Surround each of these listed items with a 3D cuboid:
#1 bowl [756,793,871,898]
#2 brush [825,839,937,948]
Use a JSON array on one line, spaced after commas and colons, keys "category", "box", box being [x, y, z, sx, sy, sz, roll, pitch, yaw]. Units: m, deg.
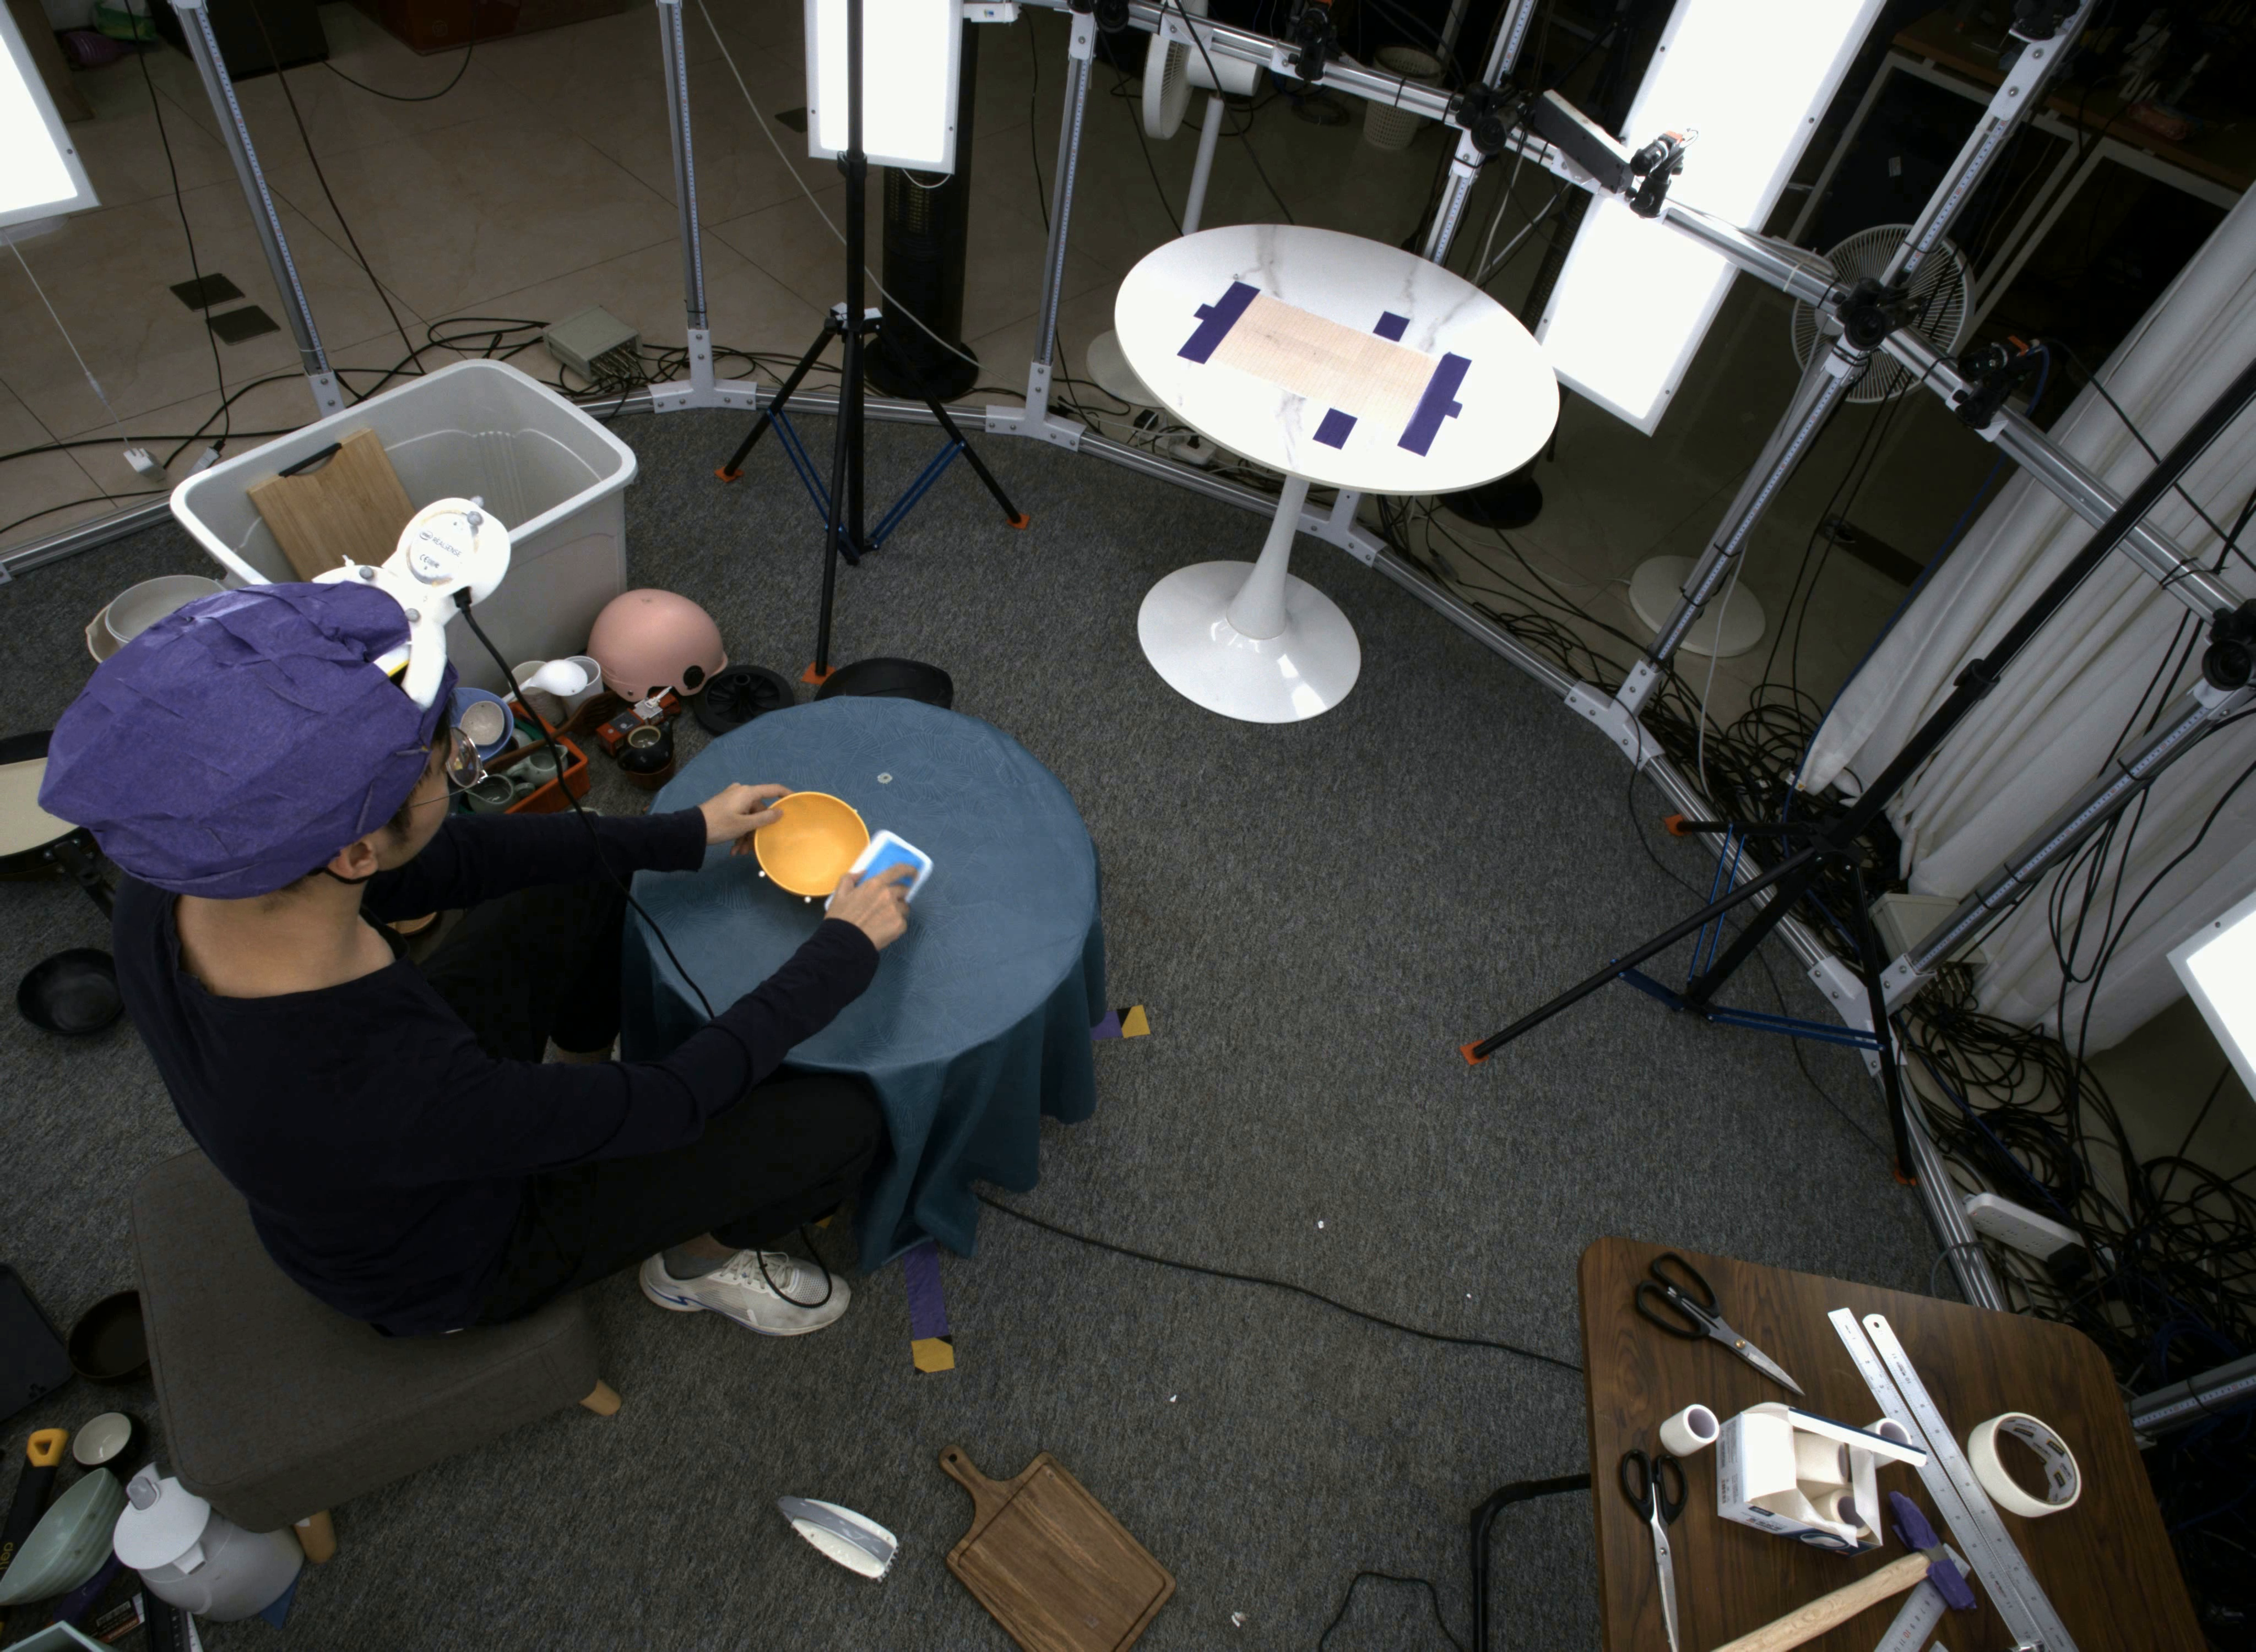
[{"category": "bowl", "box": [-0.405, 0.034, 1.657, 0.147, 0.060, 0.143, 13, 58, -19]}, {"category": "brush", "box": [-0.299, 0.074, 1.587, 0.083, 0.056, 0.143, 36, 56, 2]}]
